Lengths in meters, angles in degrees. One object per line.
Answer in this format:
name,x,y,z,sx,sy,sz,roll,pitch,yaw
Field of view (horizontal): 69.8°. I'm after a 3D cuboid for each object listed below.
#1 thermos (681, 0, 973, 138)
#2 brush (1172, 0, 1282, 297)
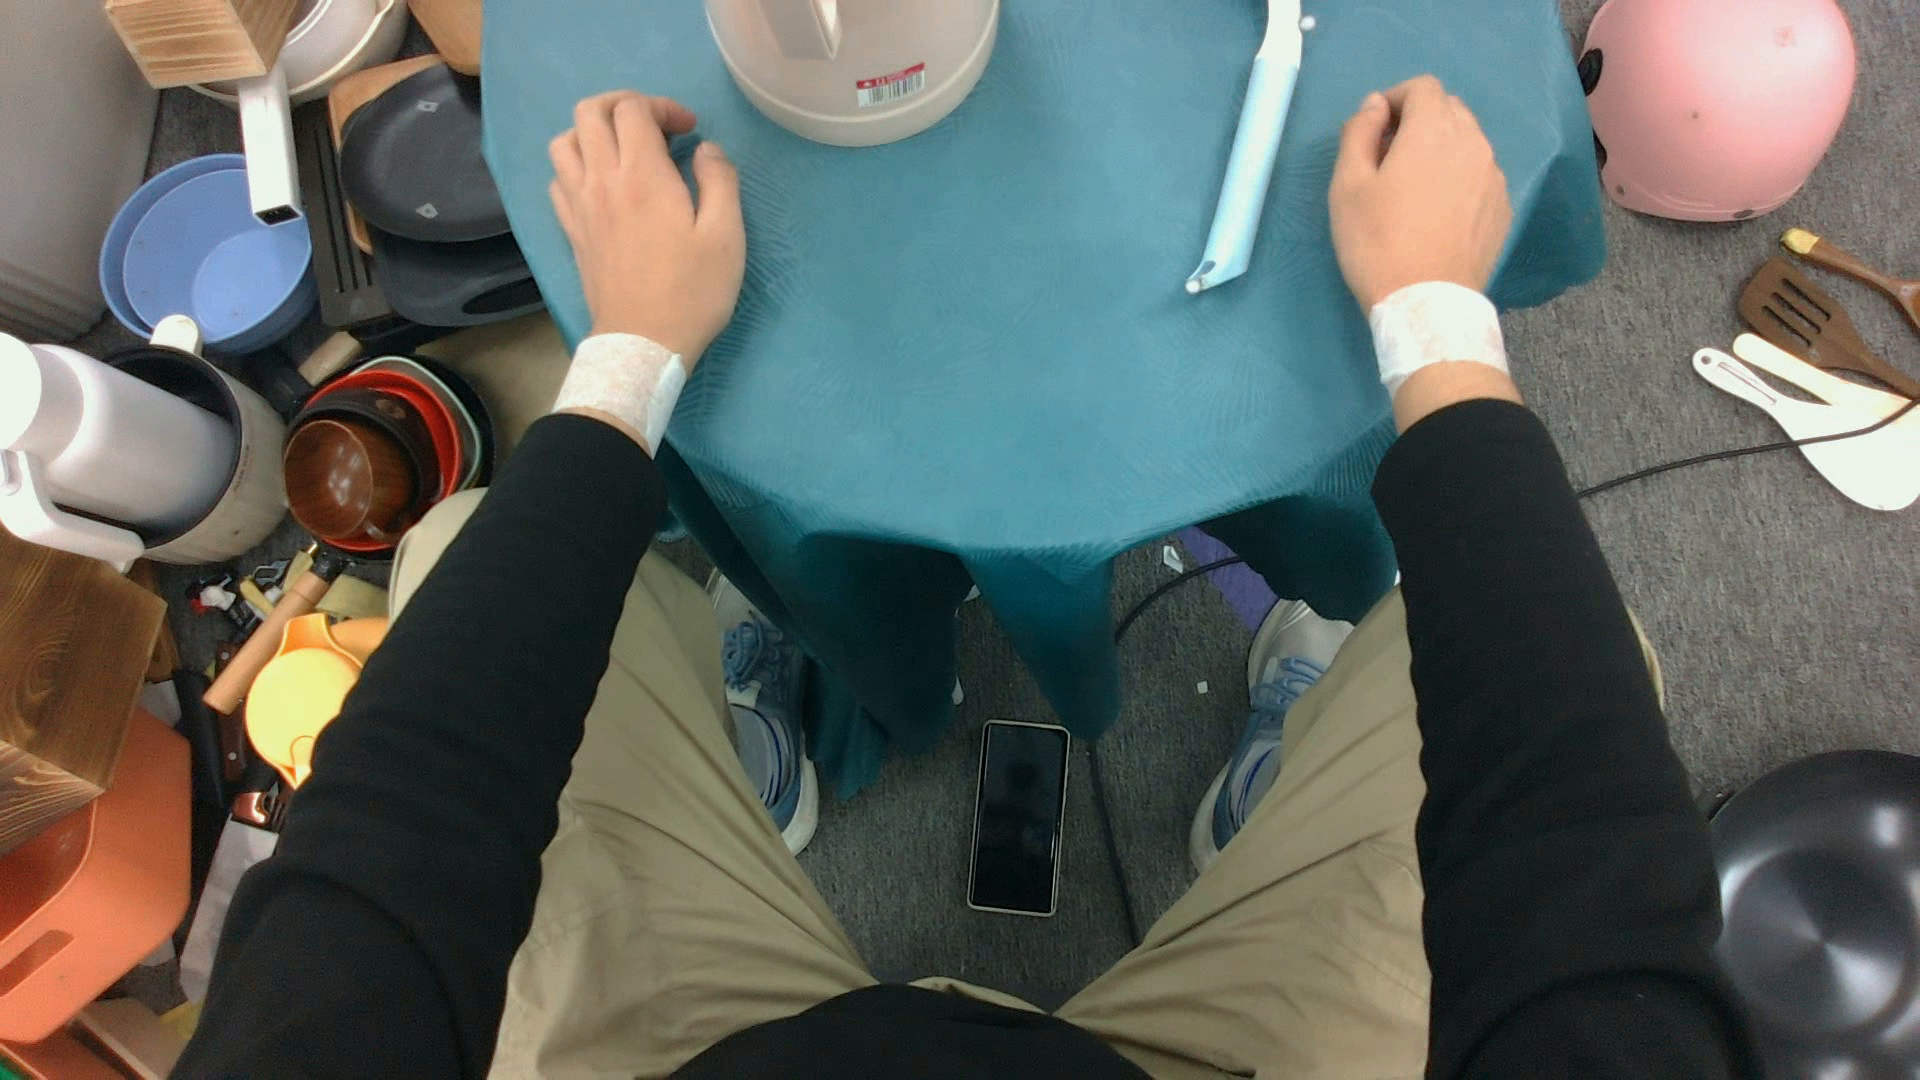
thermos,-0.075,-0.317,0.576,0.175,0.405,0.207,3,80,0
brush,0.137,-0.291,0.732,0.084,0.083,0.326,13,81,9
